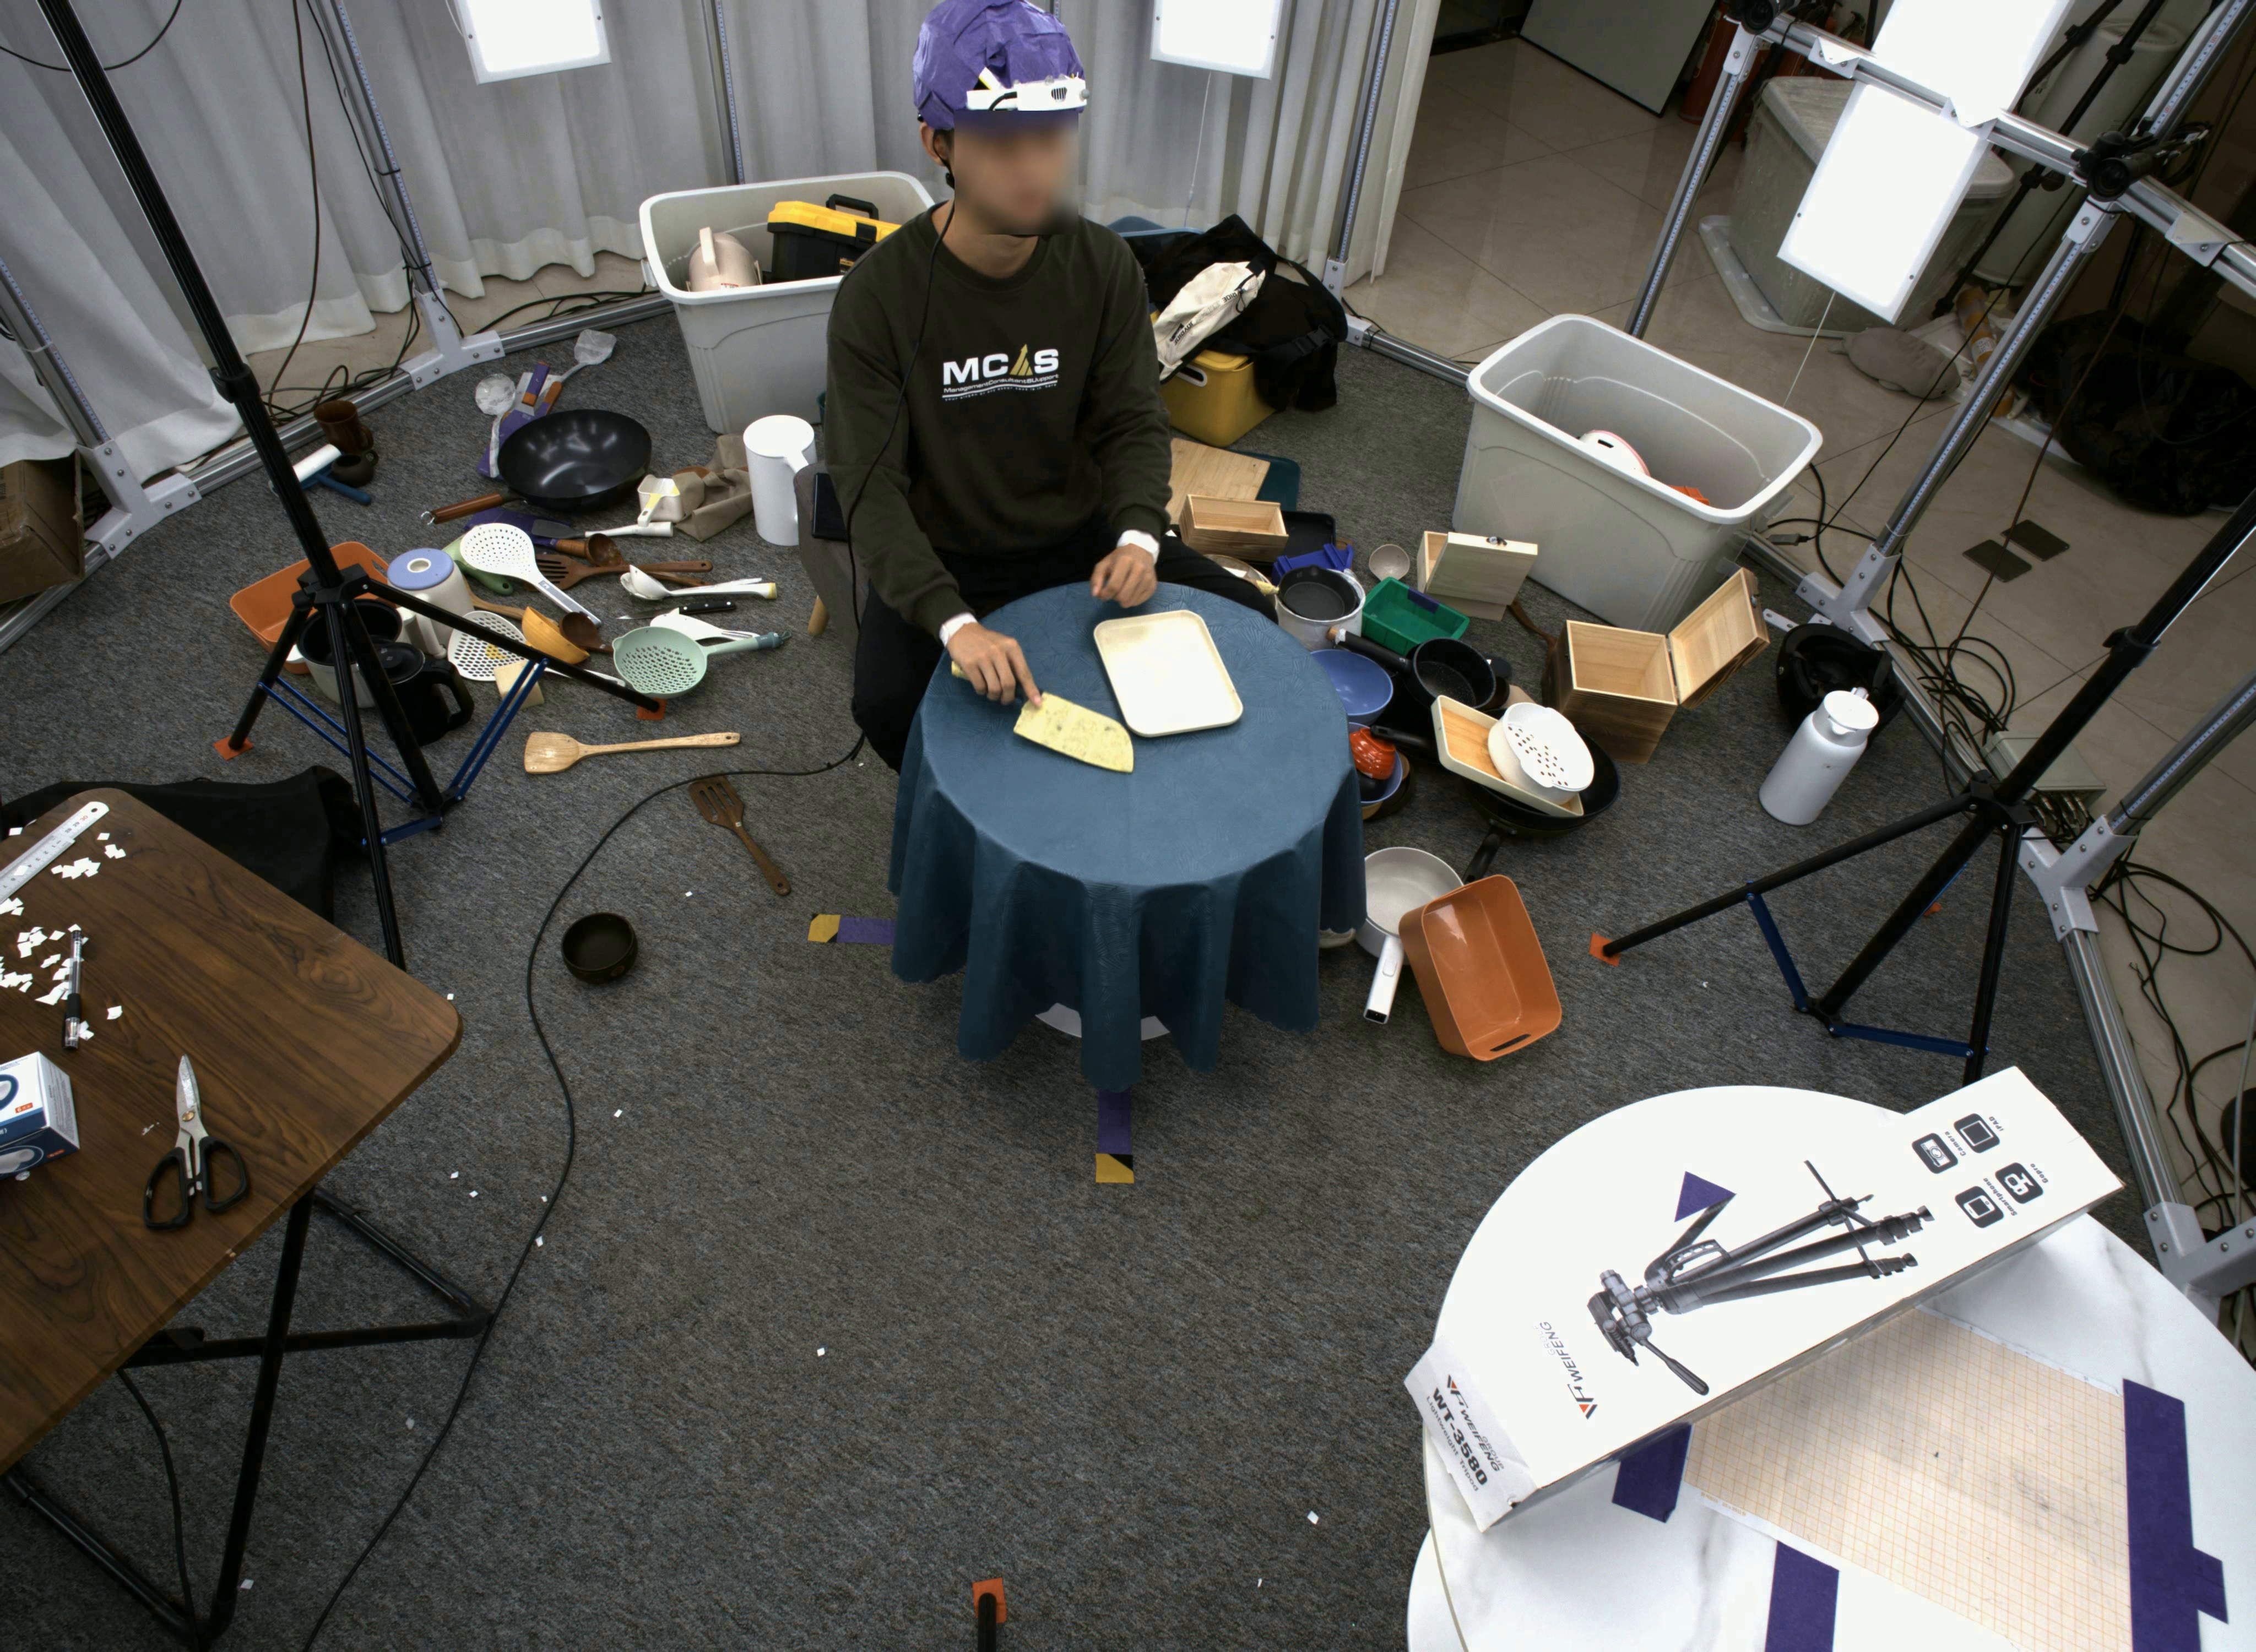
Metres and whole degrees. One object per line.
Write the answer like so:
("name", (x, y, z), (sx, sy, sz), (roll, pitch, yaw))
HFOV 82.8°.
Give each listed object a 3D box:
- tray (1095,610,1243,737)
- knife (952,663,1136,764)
("tray", (0.056, -0.222, 1.852), (0.171, 0.017, 0.245), (-10, 50, -12))
("knife", (-0.119, -0.155, 1.756), (0.291, 0.027, 0.082), (25, 68, 12))
